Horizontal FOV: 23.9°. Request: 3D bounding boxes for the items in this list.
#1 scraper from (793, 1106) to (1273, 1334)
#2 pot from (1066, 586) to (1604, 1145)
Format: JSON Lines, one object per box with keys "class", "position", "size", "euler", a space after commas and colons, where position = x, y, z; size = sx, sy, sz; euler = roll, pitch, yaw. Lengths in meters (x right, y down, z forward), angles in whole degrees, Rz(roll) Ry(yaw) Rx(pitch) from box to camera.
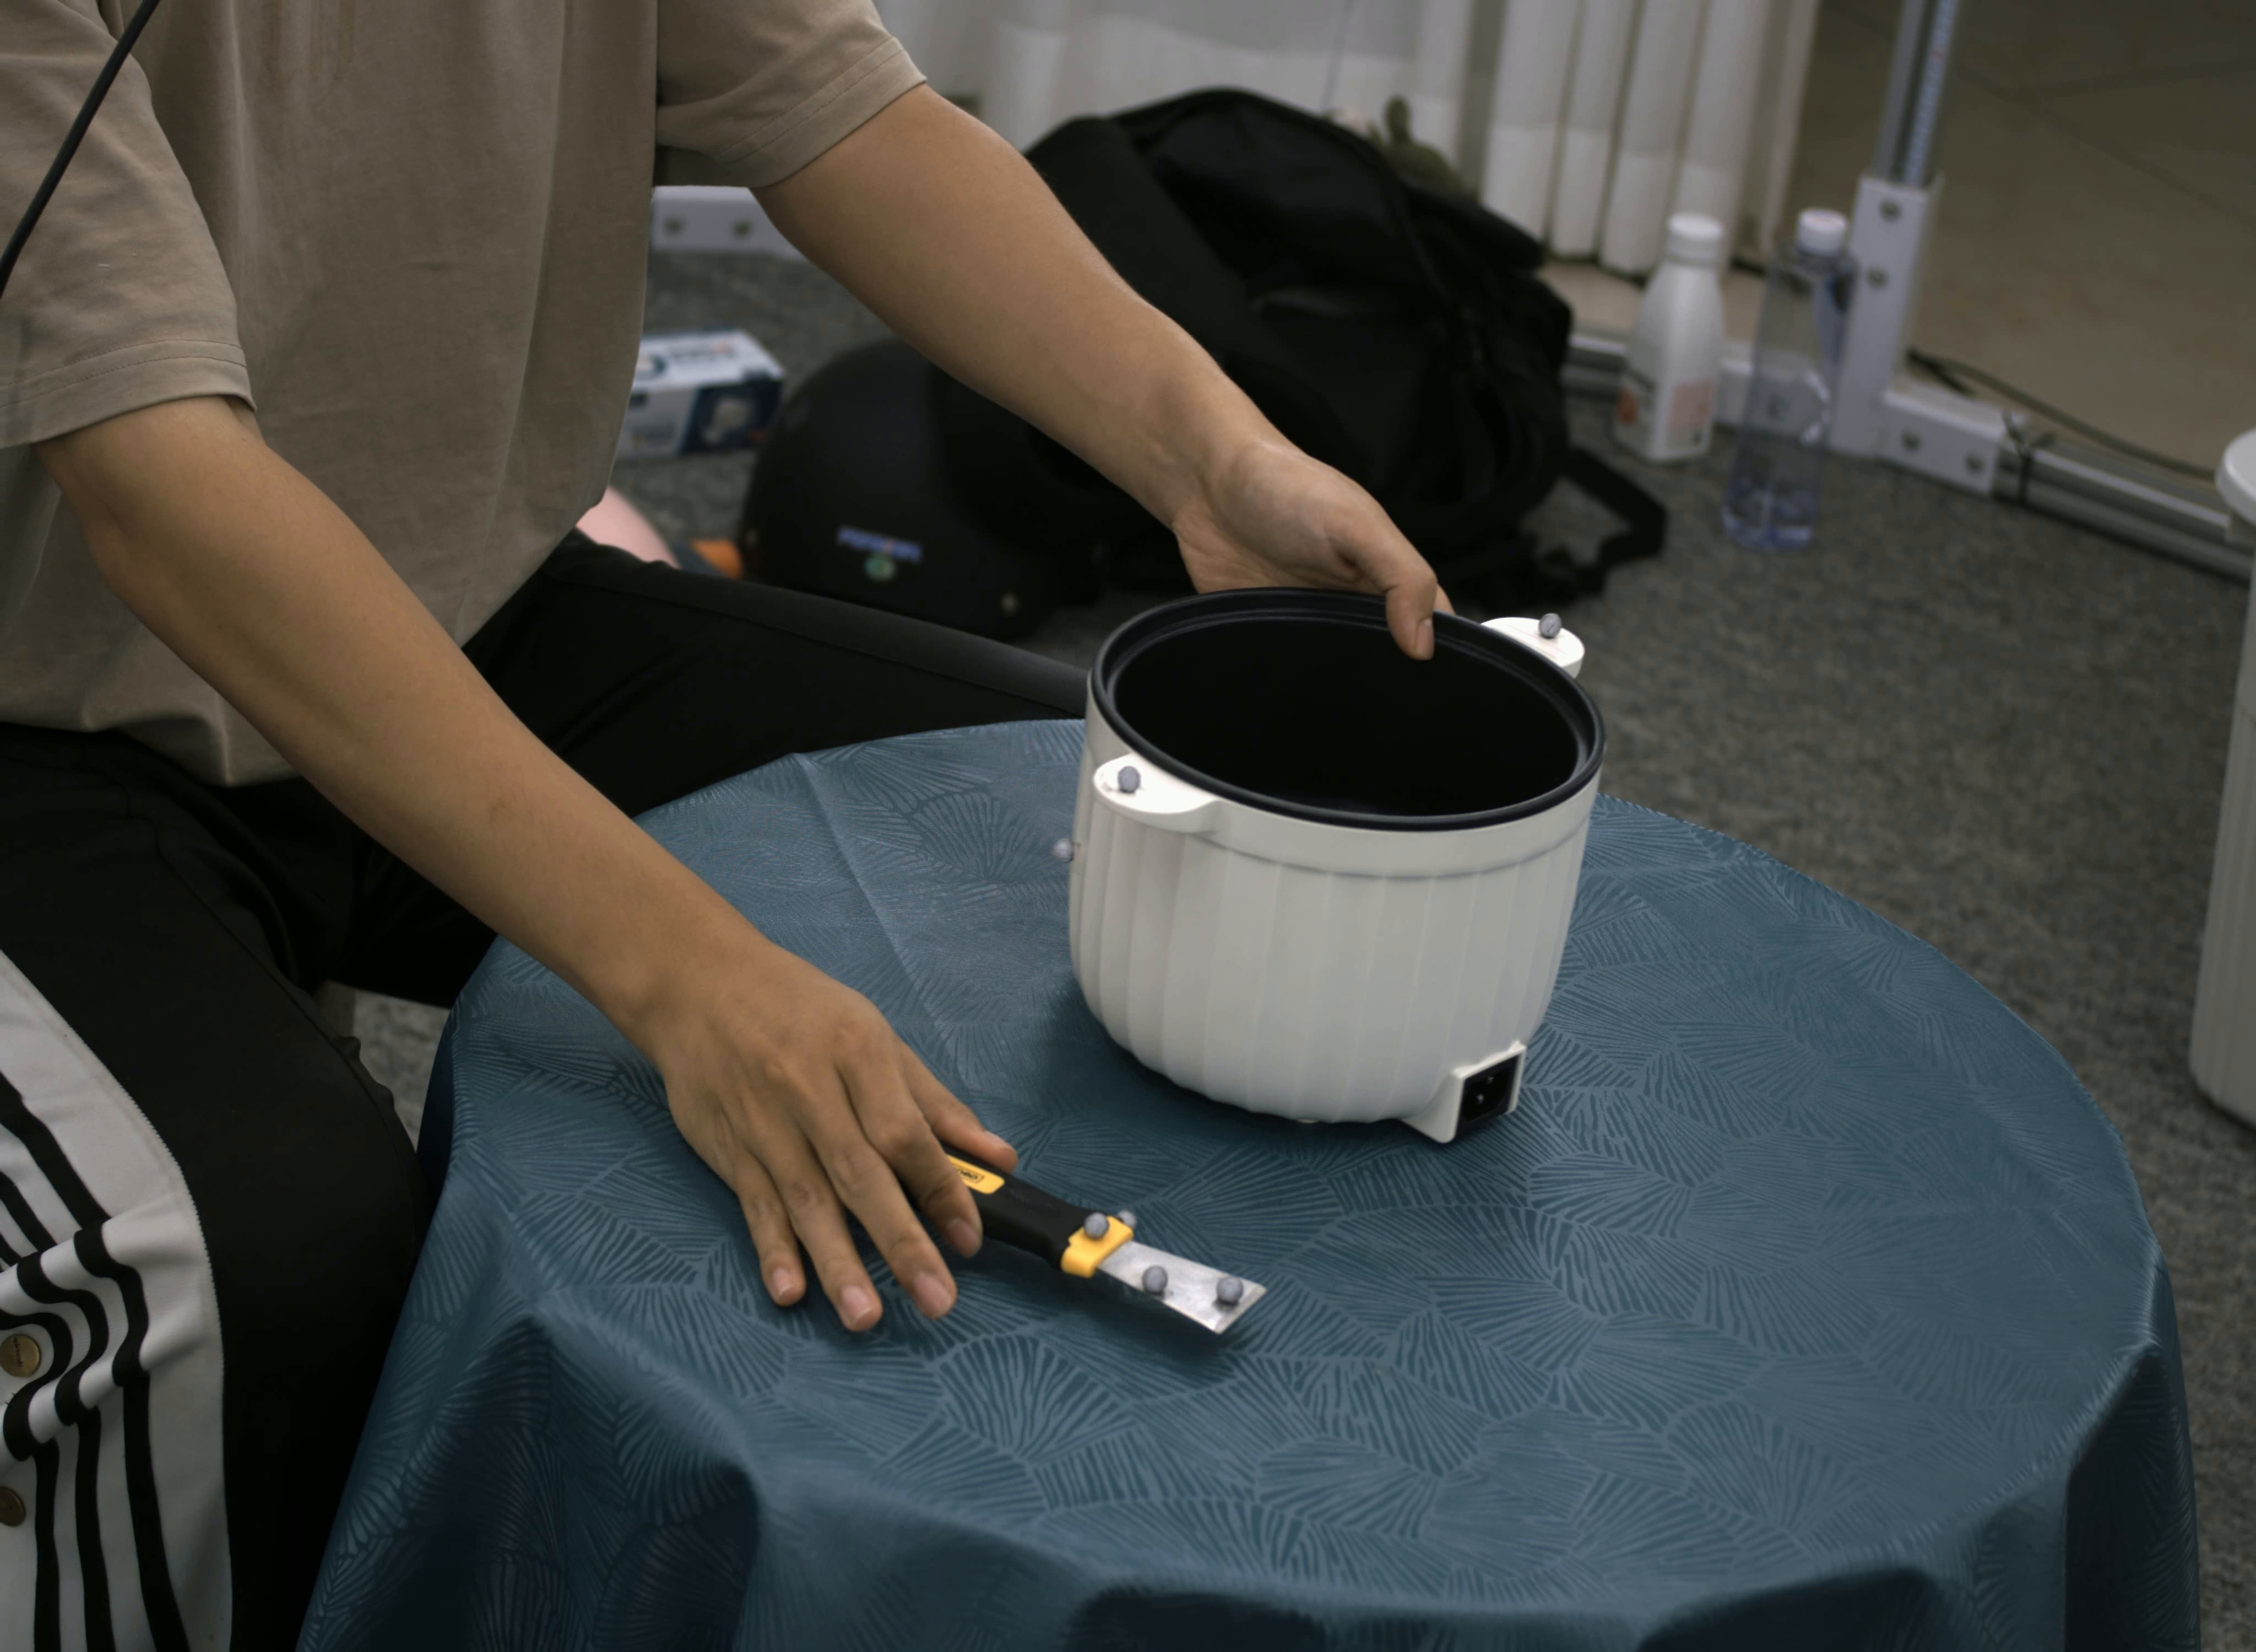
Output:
{"class": "scraper", "position": [-0.035, 0.128, 1.745], "size": [0.171, 0.015, 0.039], "euler": [20, 35, 21]}
{"class": "pot", "position": [0.063, 0.014, 1.882], "size": [0.192, 0.142, 0.239], "euler": [31, 34, 33]}
